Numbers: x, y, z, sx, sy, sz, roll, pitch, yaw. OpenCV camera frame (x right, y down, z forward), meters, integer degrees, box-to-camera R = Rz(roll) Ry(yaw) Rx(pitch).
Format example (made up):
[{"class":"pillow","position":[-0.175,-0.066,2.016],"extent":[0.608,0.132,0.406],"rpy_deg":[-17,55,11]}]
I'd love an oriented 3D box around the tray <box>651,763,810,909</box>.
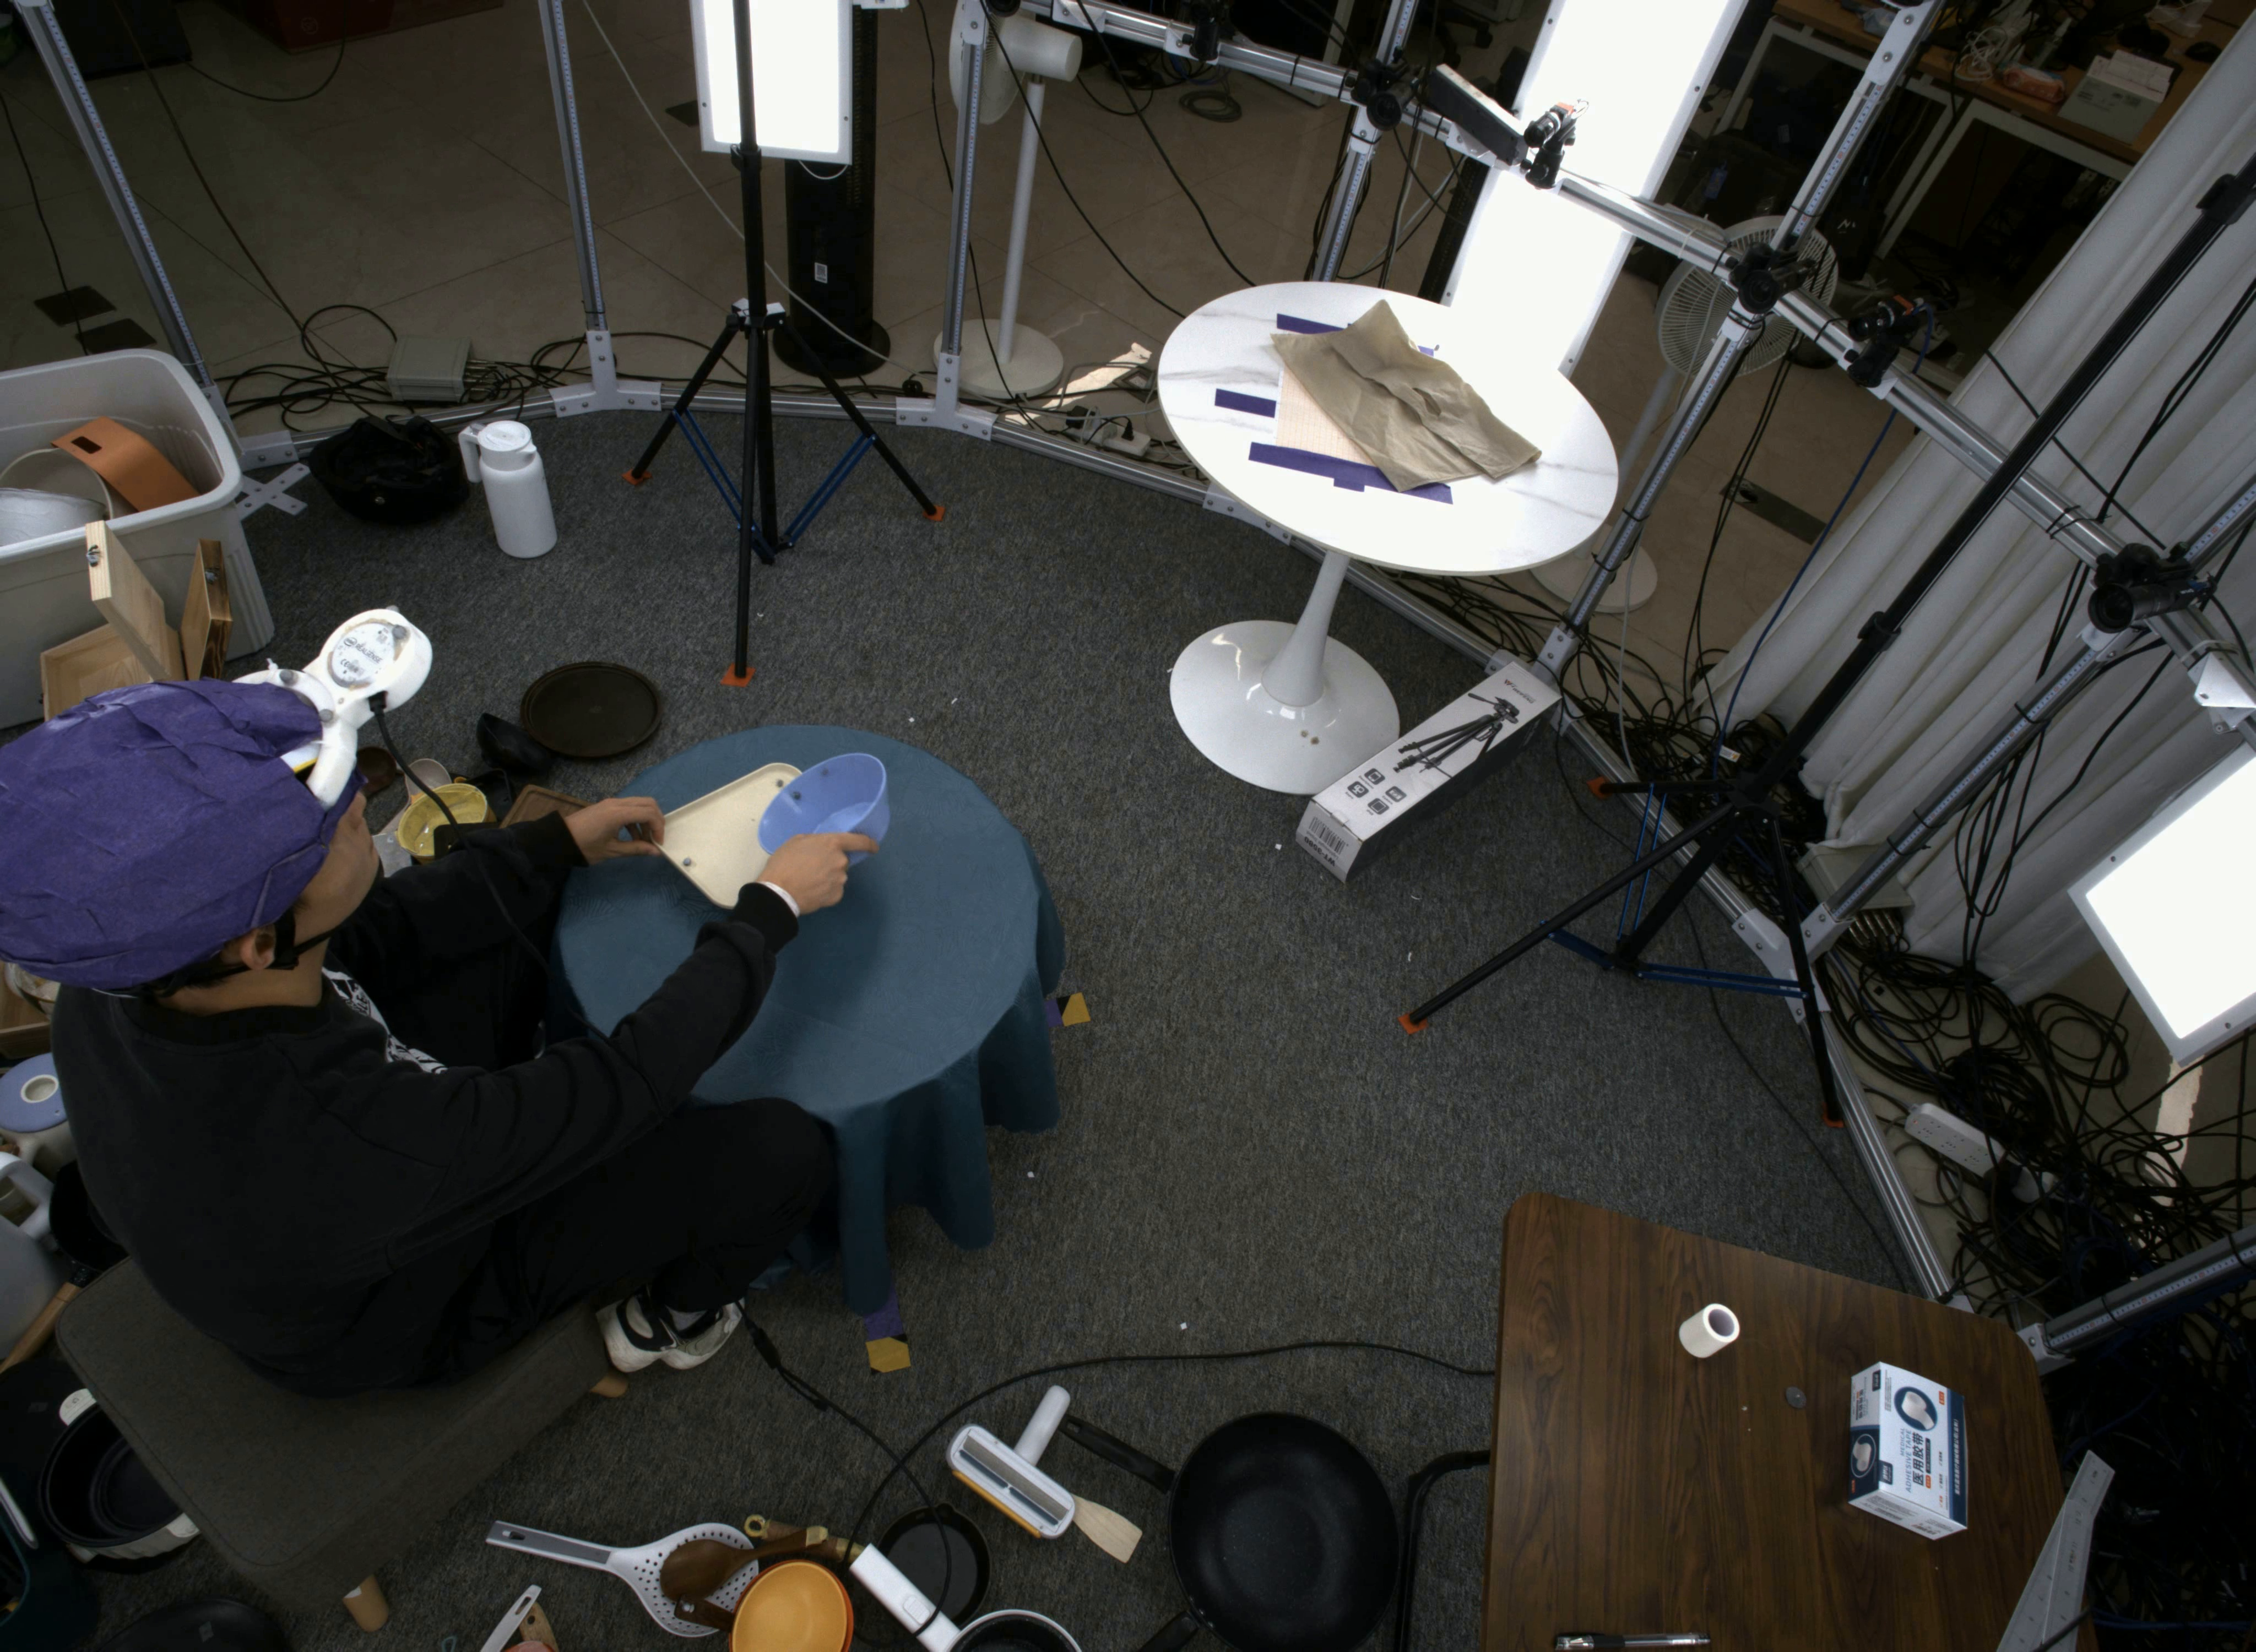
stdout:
[{"class":"tray","position":[-0.478,0.010,1.668],"extent":[0.168,0.018,0.240],"rpy_deg":[40,43,14]}]

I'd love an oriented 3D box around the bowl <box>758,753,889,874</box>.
[{"class":"bowl","position":[-0.362,-0.007,1.597],"extent":[0.173,0.073,0.172],"rpy_deg":[-15,40,15]}]
